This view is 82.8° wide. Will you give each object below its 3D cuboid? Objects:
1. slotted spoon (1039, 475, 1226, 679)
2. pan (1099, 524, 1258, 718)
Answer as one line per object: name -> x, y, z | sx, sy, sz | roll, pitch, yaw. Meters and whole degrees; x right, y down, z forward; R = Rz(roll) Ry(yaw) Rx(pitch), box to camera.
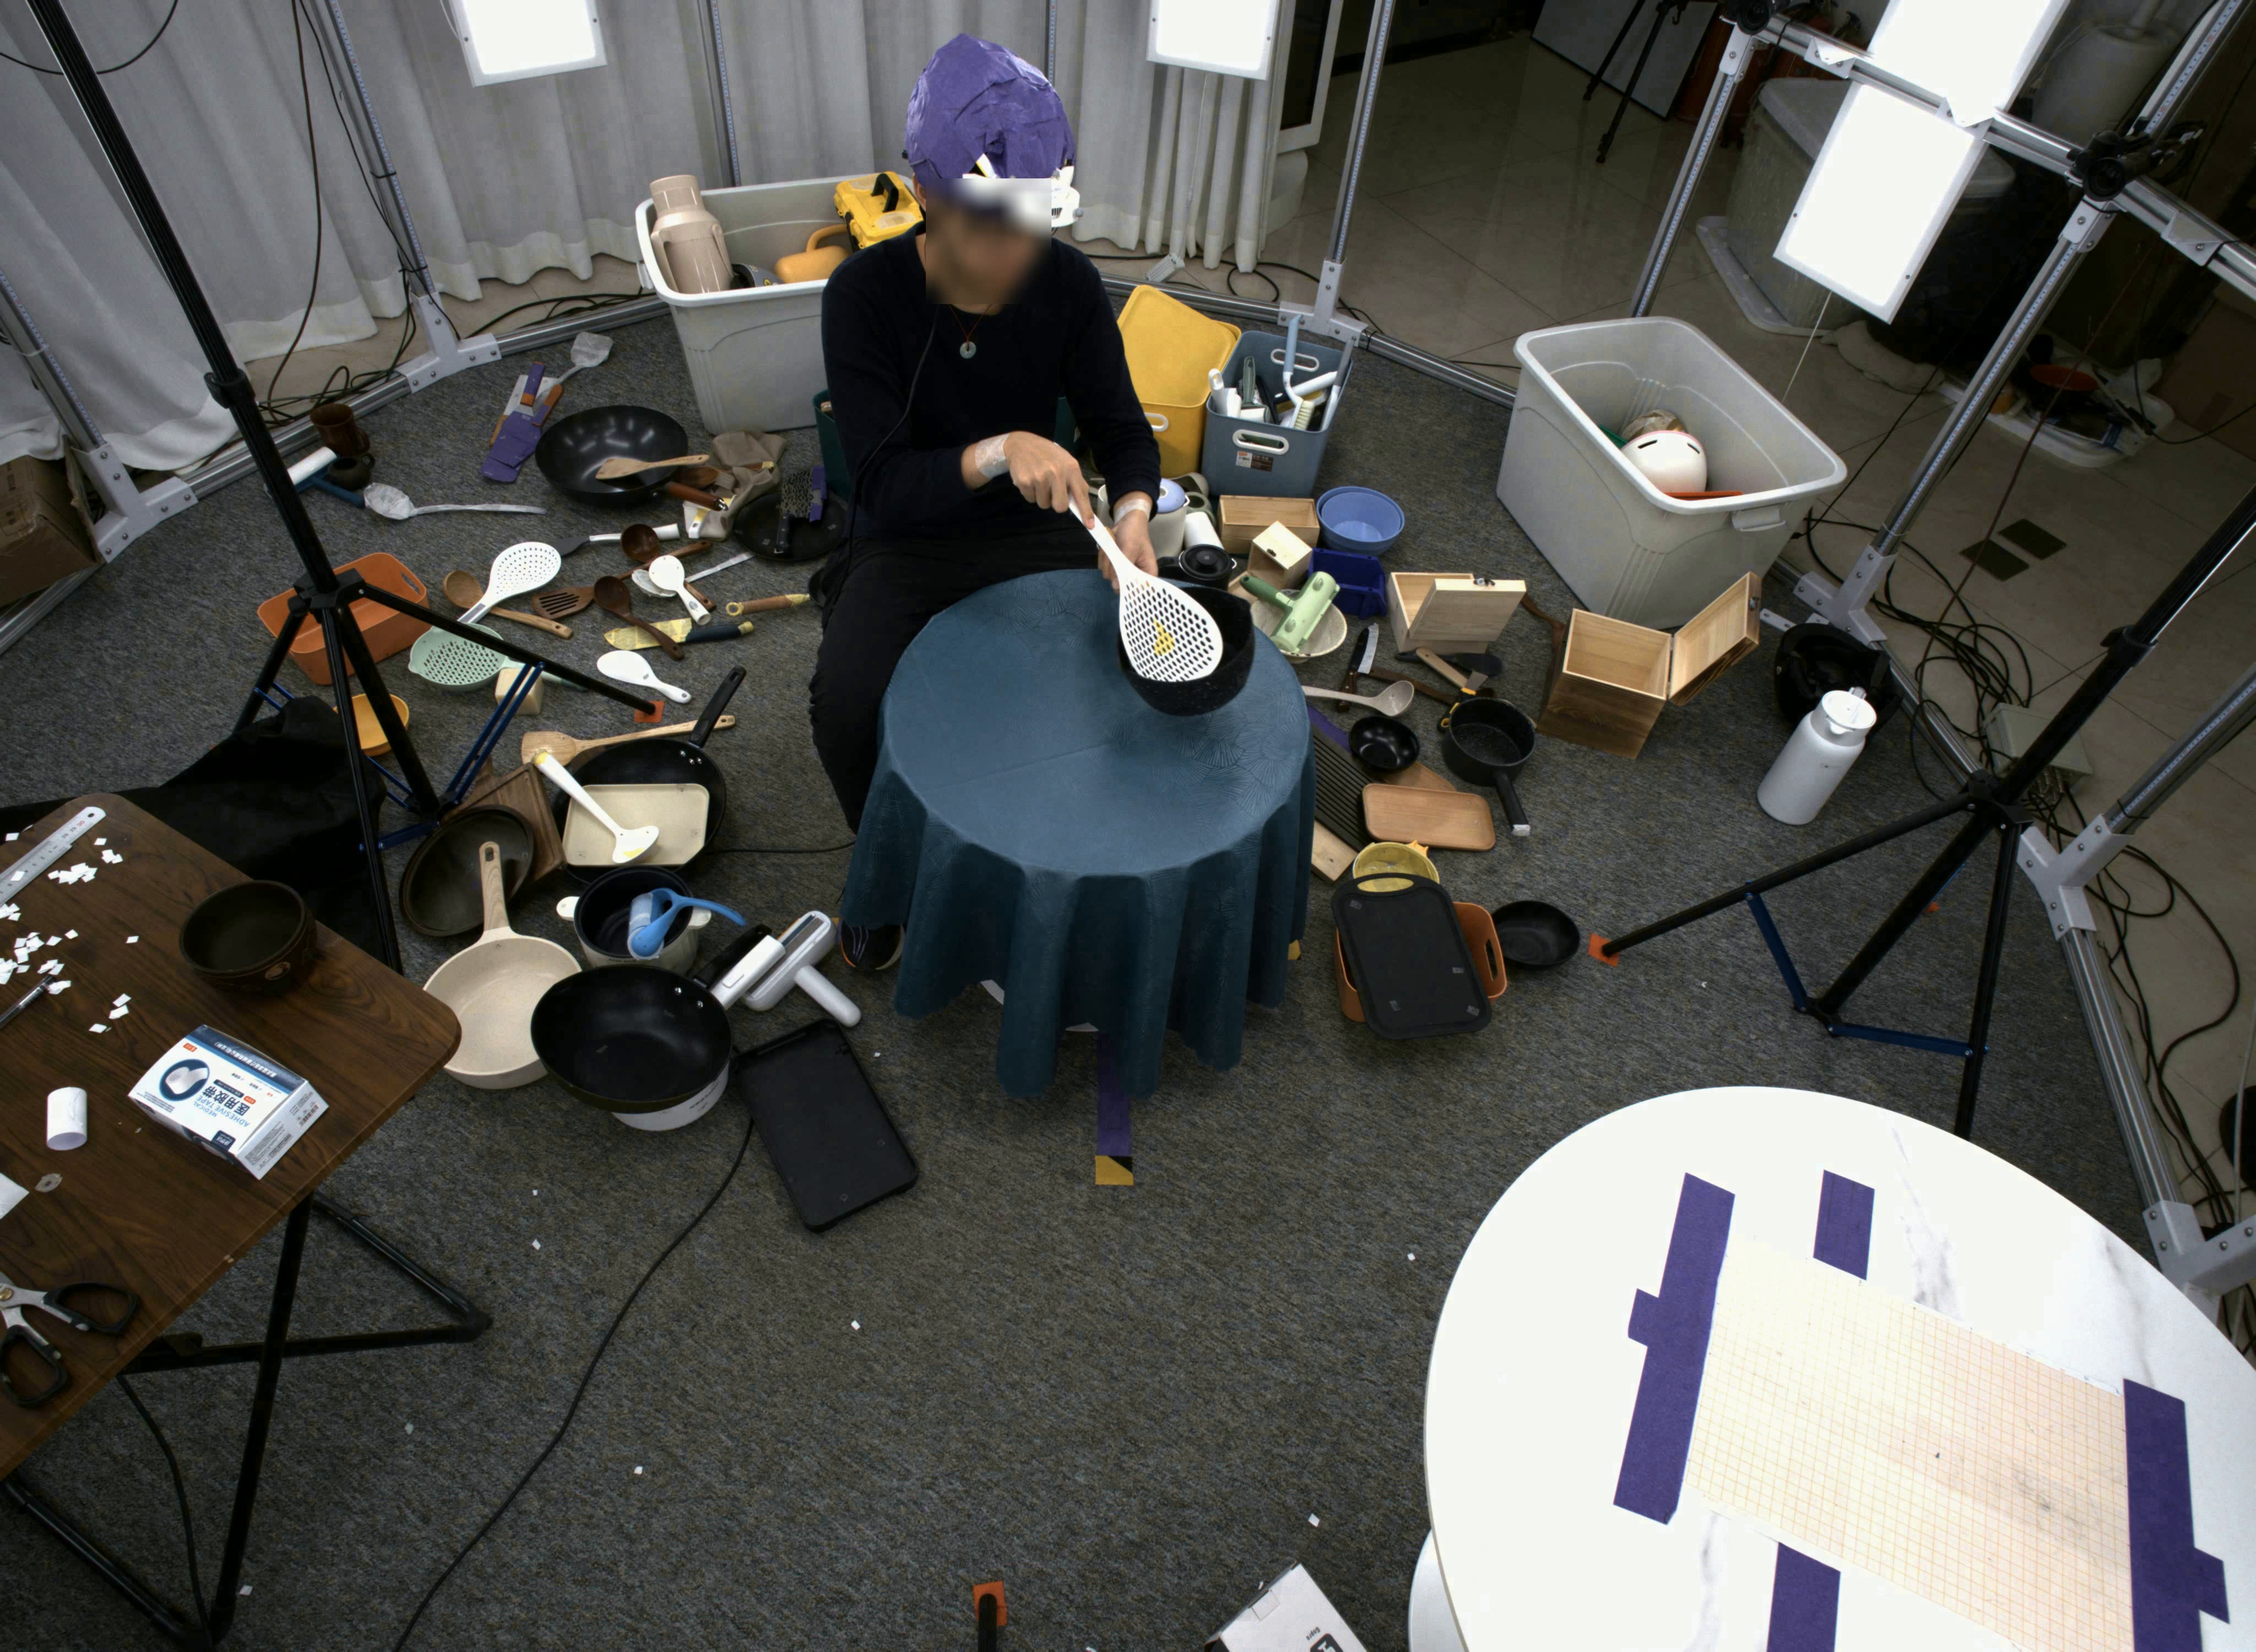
slotted spoon -> -0.002, -0.334, 1.737 | 0.137, 0.050, 0.345 | -38, 99, -15
pan -> 0.046, -0.287, 1.773 | 0.208, 0.105, 0.350 | -28, 51, -10
